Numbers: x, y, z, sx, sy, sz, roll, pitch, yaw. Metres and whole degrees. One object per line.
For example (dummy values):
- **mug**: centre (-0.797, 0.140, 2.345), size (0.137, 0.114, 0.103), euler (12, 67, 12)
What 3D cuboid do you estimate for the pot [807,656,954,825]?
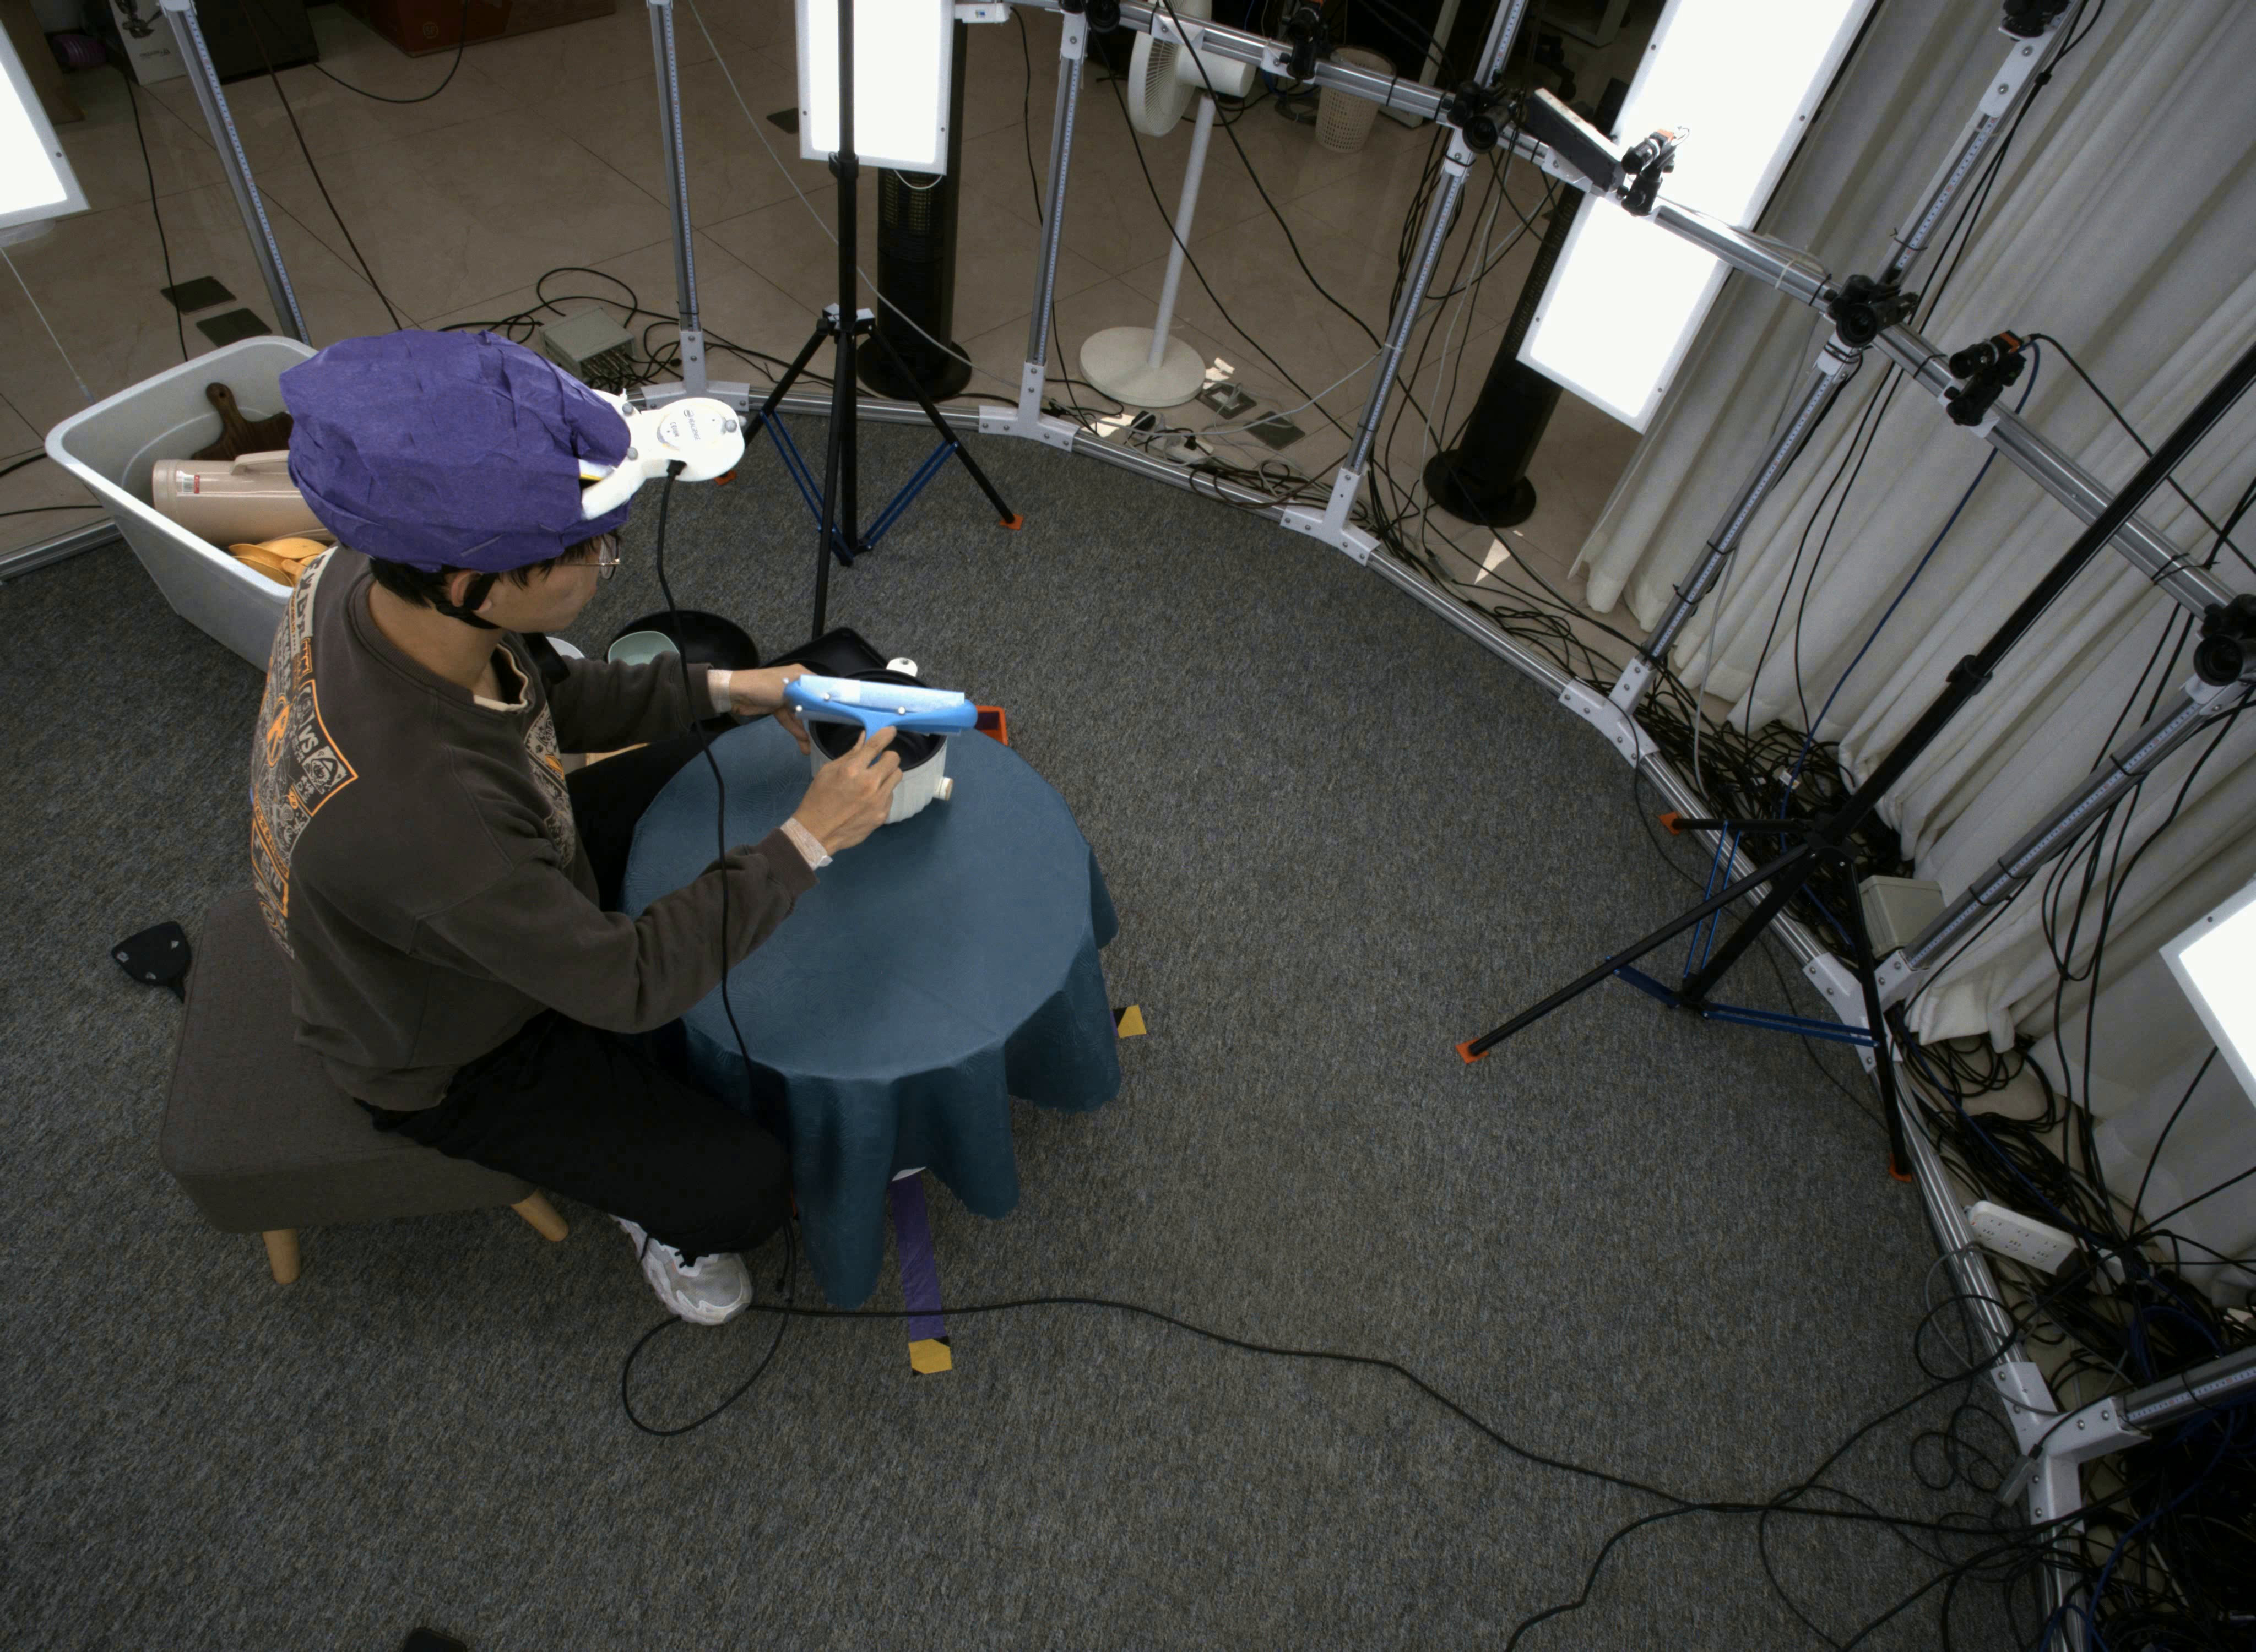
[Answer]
- **pot**: centre (-0.330, -0.099, 1.745), size (0.188, 0.146, 0.237), euler (12, 54, 1)

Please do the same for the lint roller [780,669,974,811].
- **lint roller**: centre (-0.293, -0.105, 1.501), size (0.229, 0.069, 0.176), euler (6, 47, -12)
